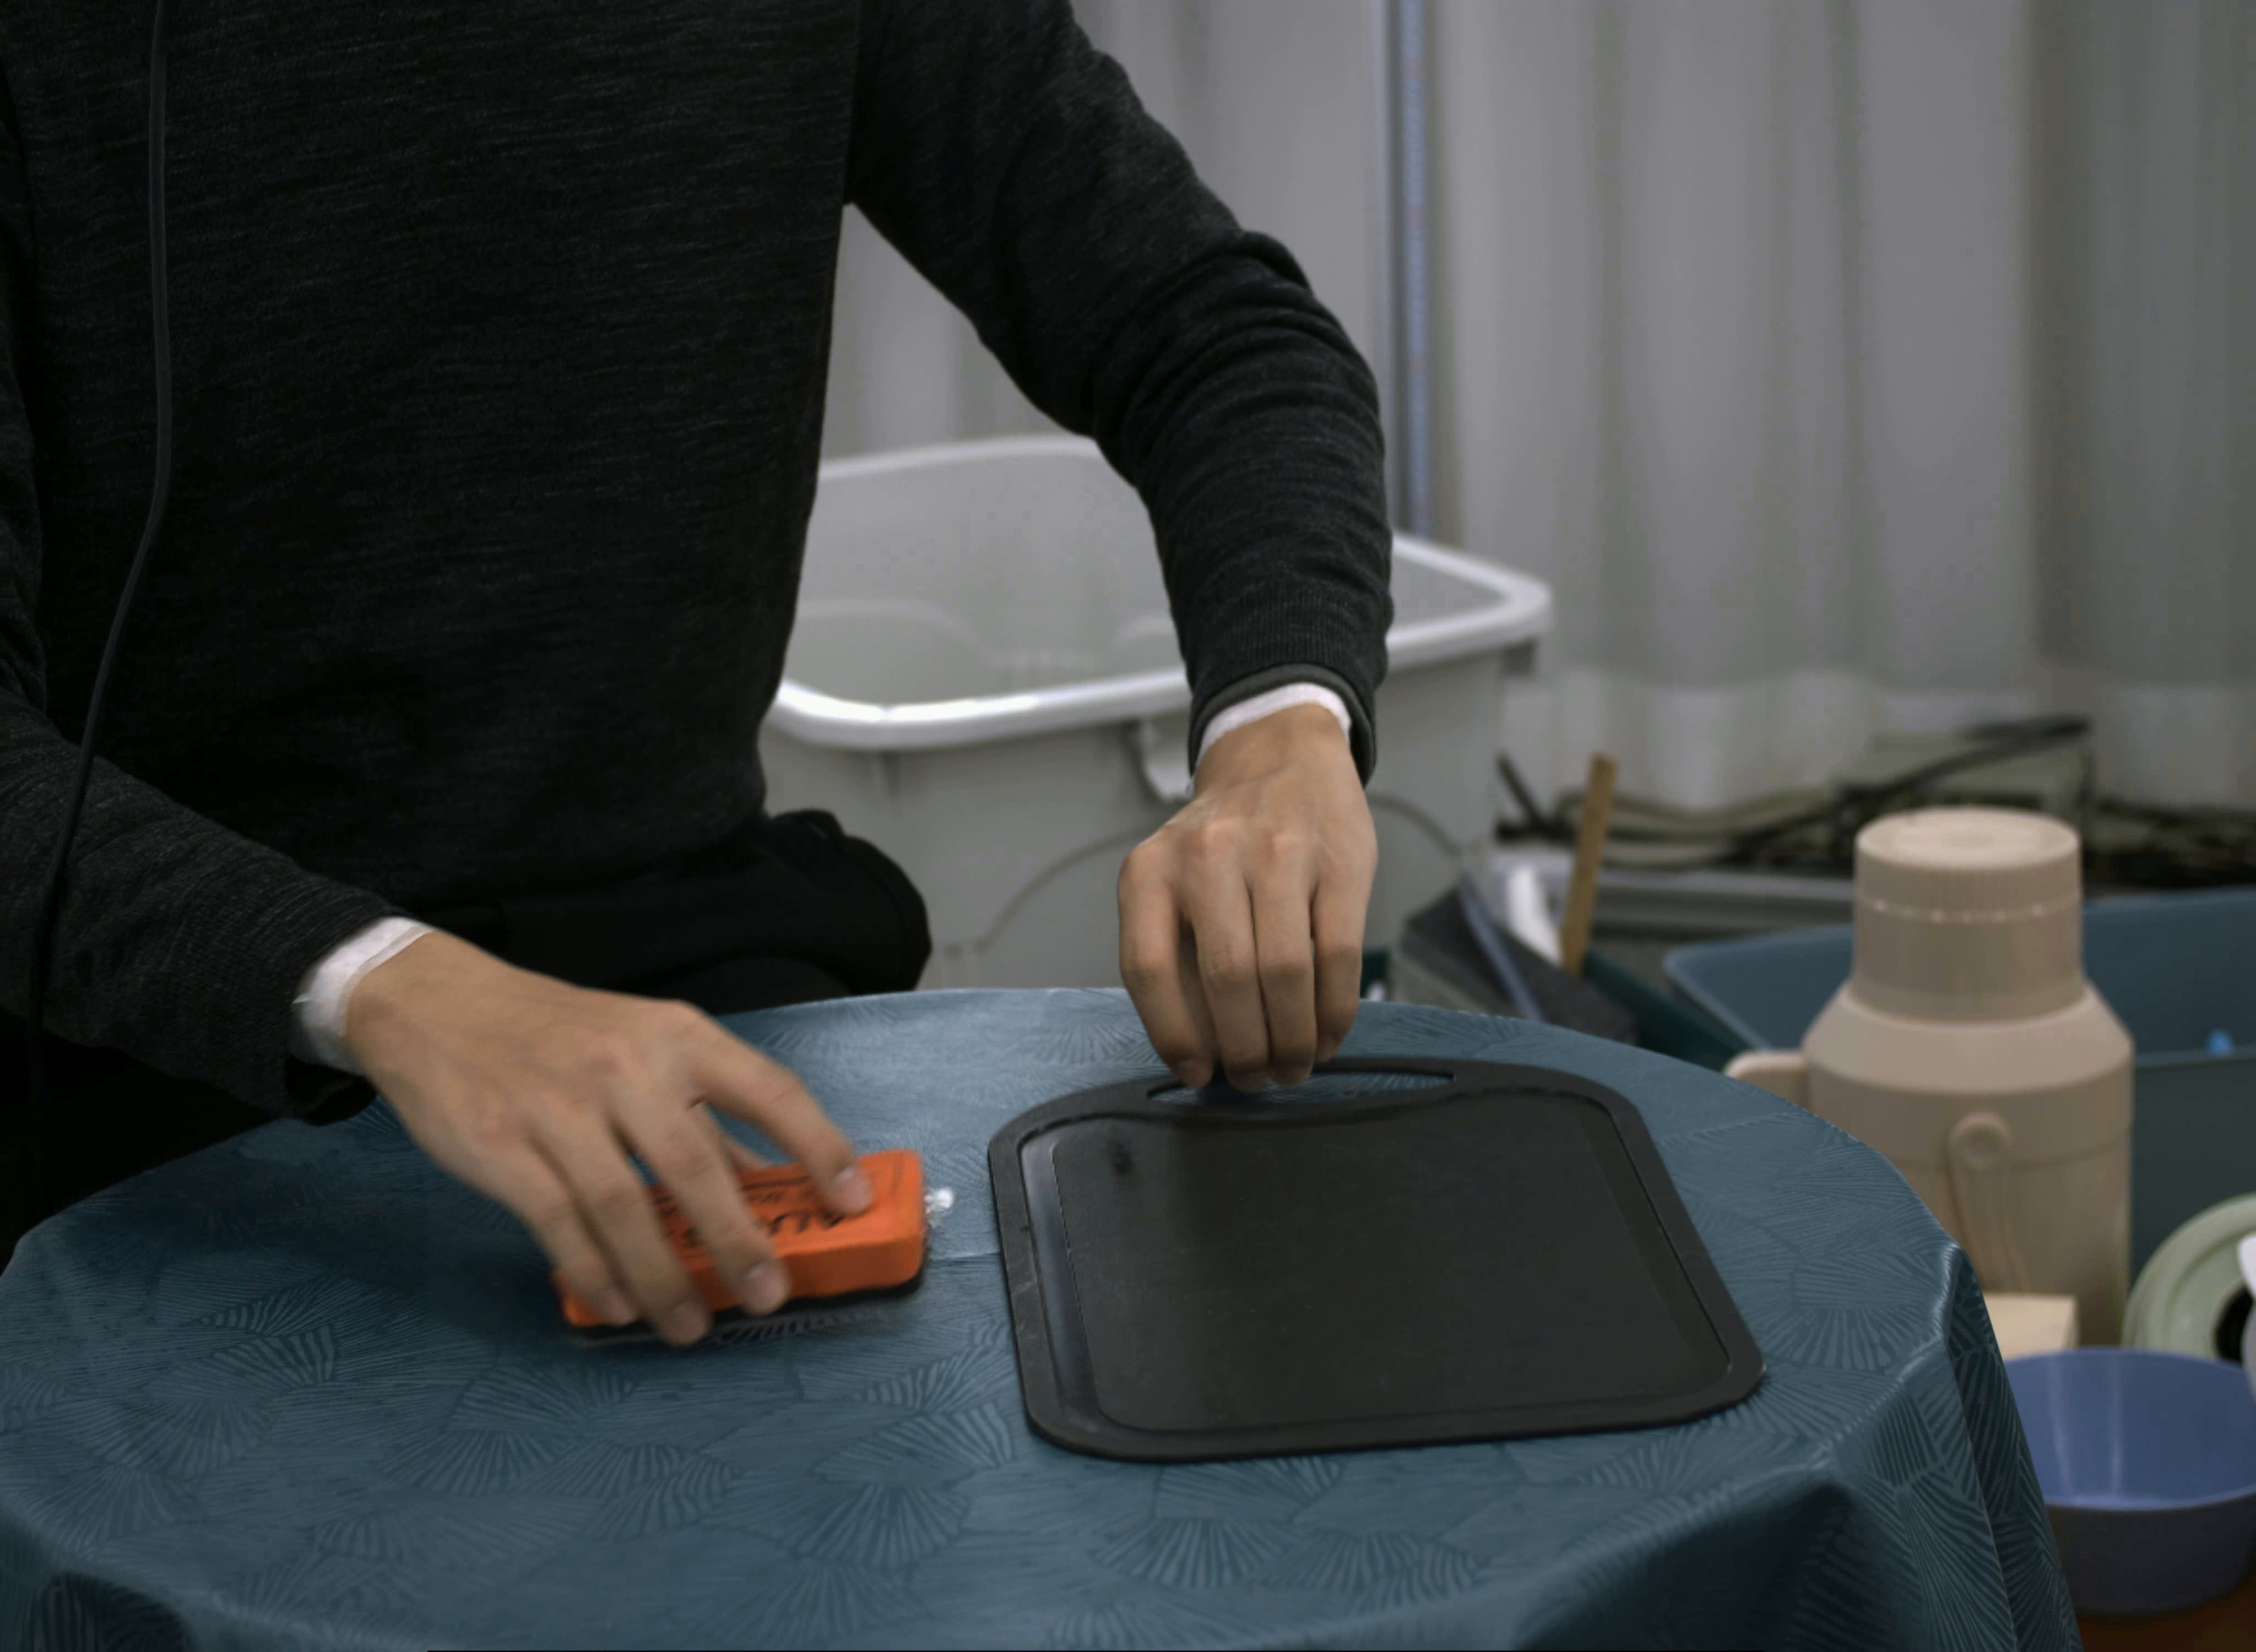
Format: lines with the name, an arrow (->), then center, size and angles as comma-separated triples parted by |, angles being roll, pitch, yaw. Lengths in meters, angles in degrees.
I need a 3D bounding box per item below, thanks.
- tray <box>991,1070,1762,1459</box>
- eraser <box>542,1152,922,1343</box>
tray -> 0.066, 0.124, 1.645 | 0.210, 0.010, 0.328 | -3, 16, -3
eraser -> -0.116, 0.124, 1.611 | 0.108, 0.023, 0.059 | -9, 19, 5
